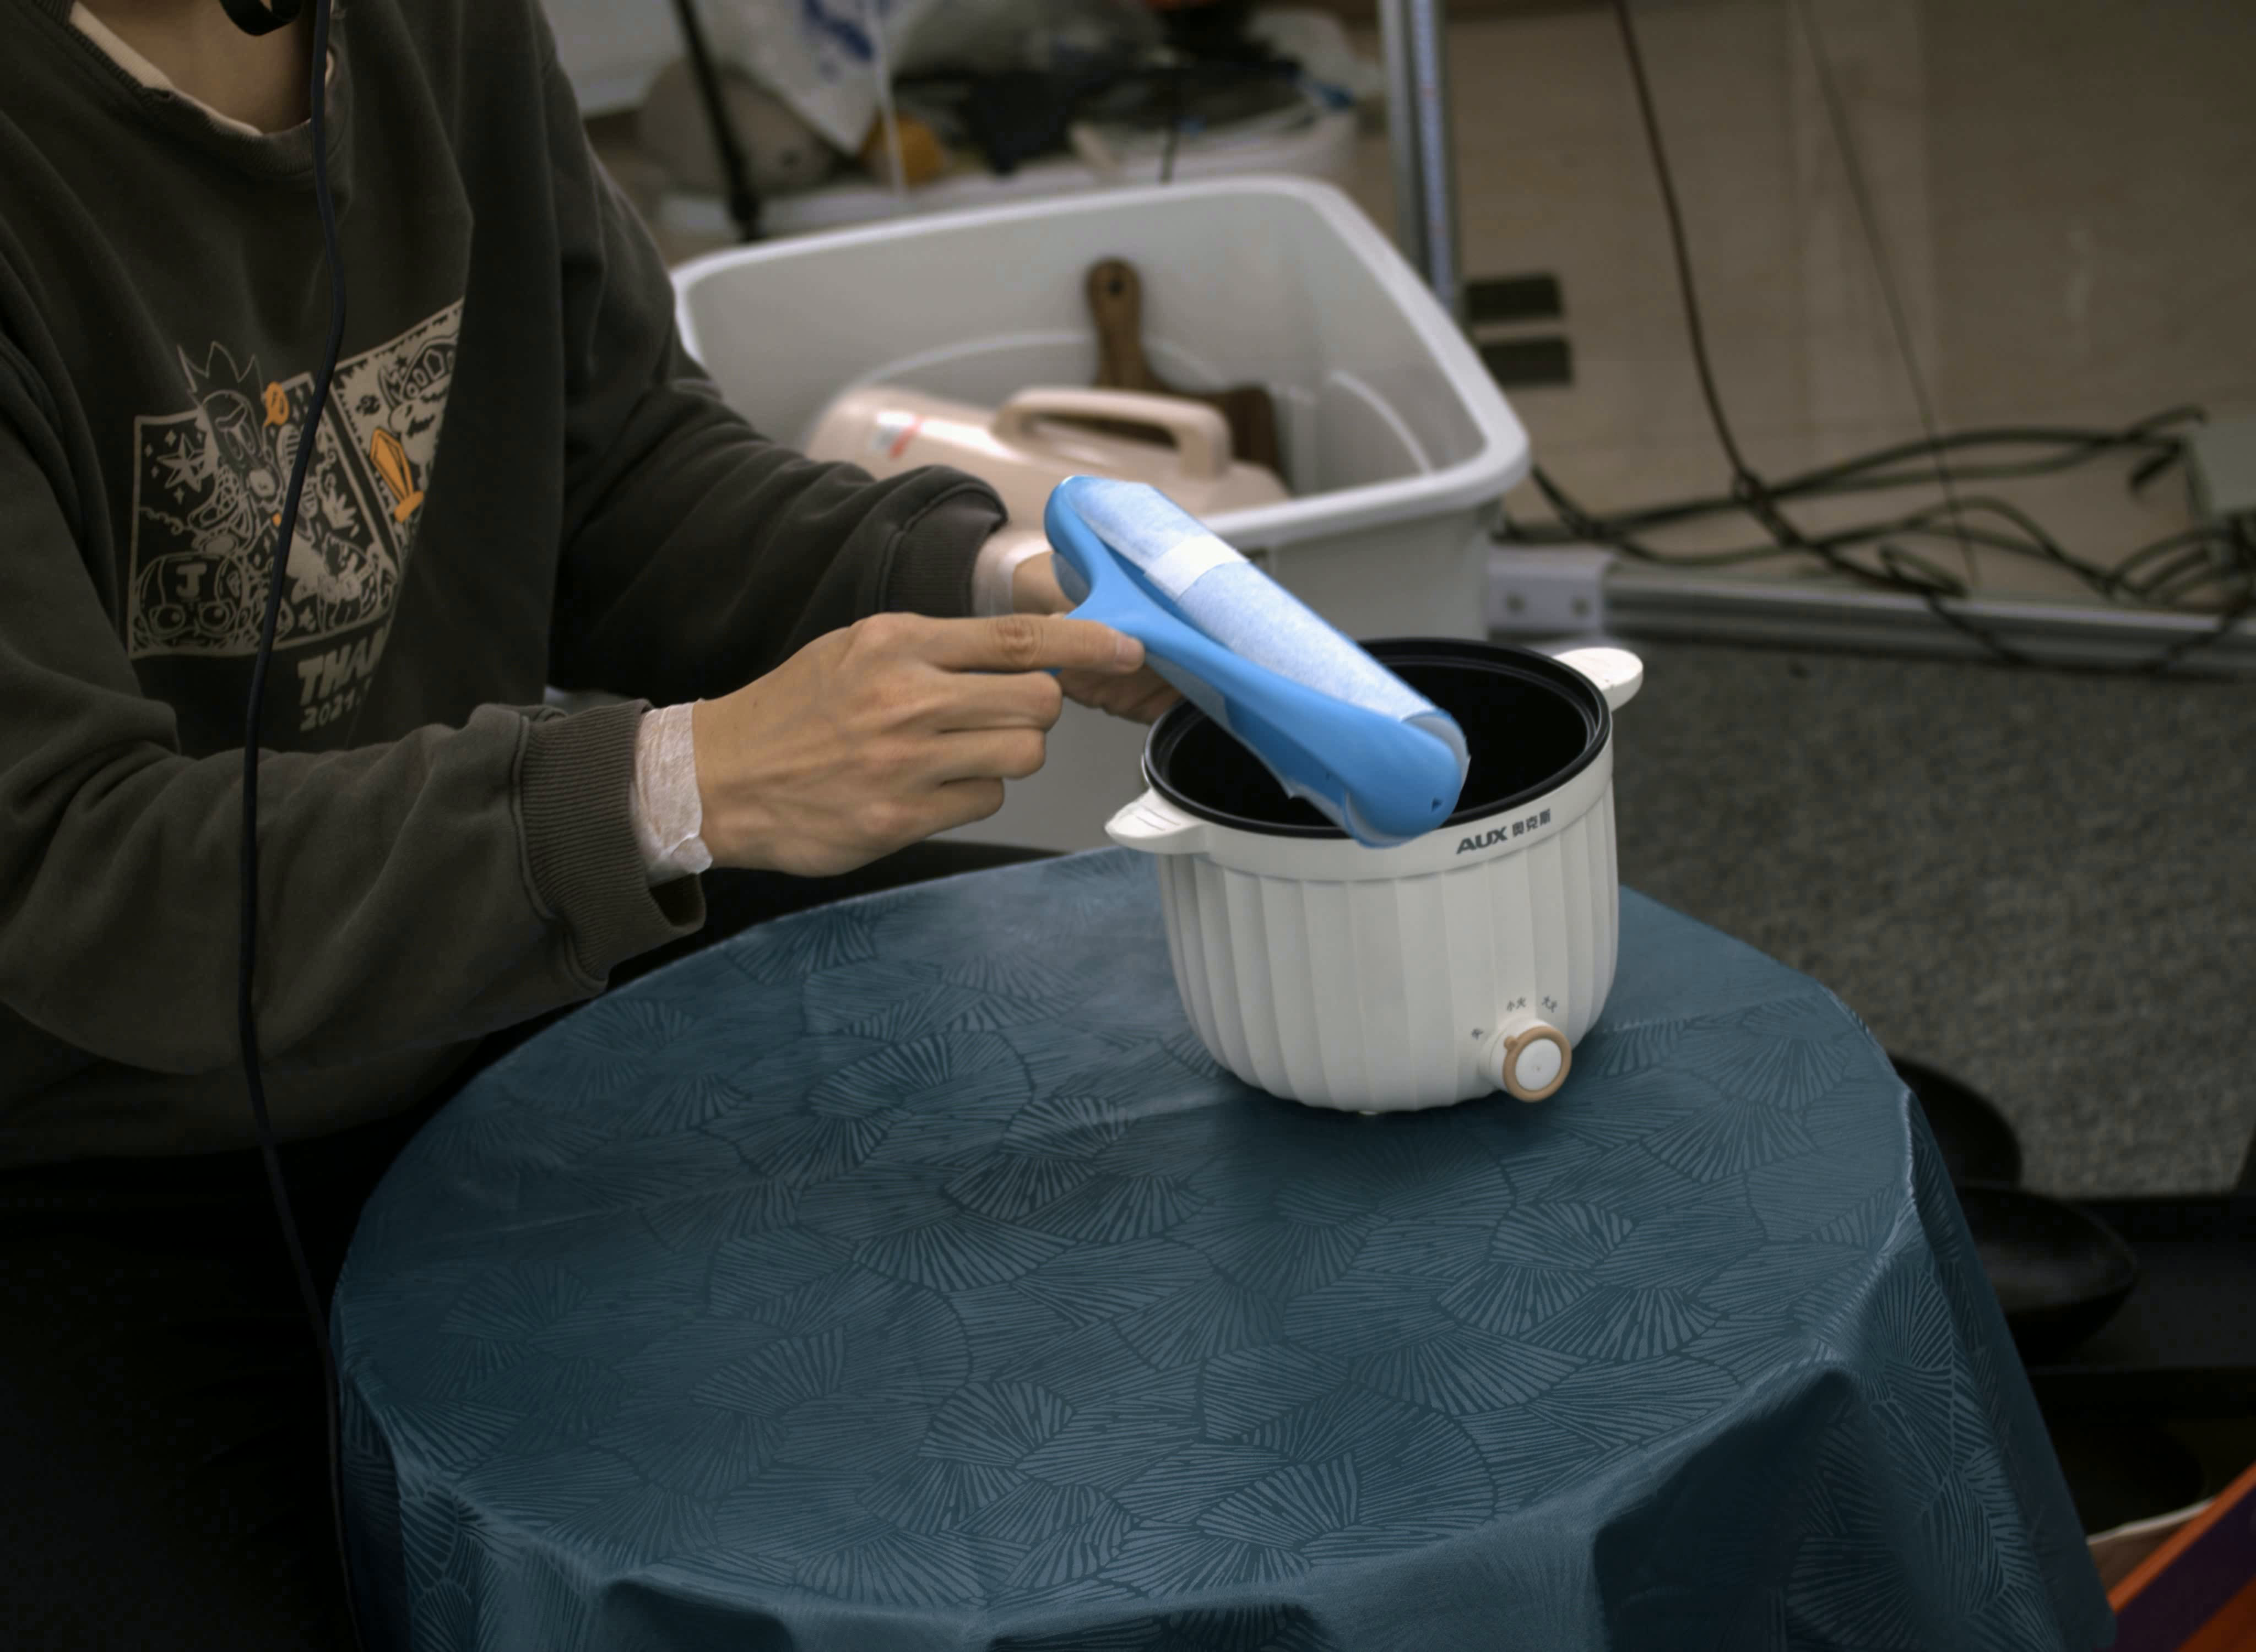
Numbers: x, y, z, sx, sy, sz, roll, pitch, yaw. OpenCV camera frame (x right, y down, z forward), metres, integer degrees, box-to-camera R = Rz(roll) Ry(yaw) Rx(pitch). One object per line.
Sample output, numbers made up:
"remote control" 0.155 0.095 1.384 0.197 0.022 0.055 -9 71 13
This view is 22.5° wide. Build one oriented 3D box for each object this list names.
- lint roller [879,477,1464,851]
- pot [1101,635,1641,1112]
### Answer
"lint roller" -0.005 -0.049 2.000 0.179 0.069 0.226 -13 37 -33
"pot" 0.106 0.023 2.200 0.239 0.145 0.188 -20 25 -24
